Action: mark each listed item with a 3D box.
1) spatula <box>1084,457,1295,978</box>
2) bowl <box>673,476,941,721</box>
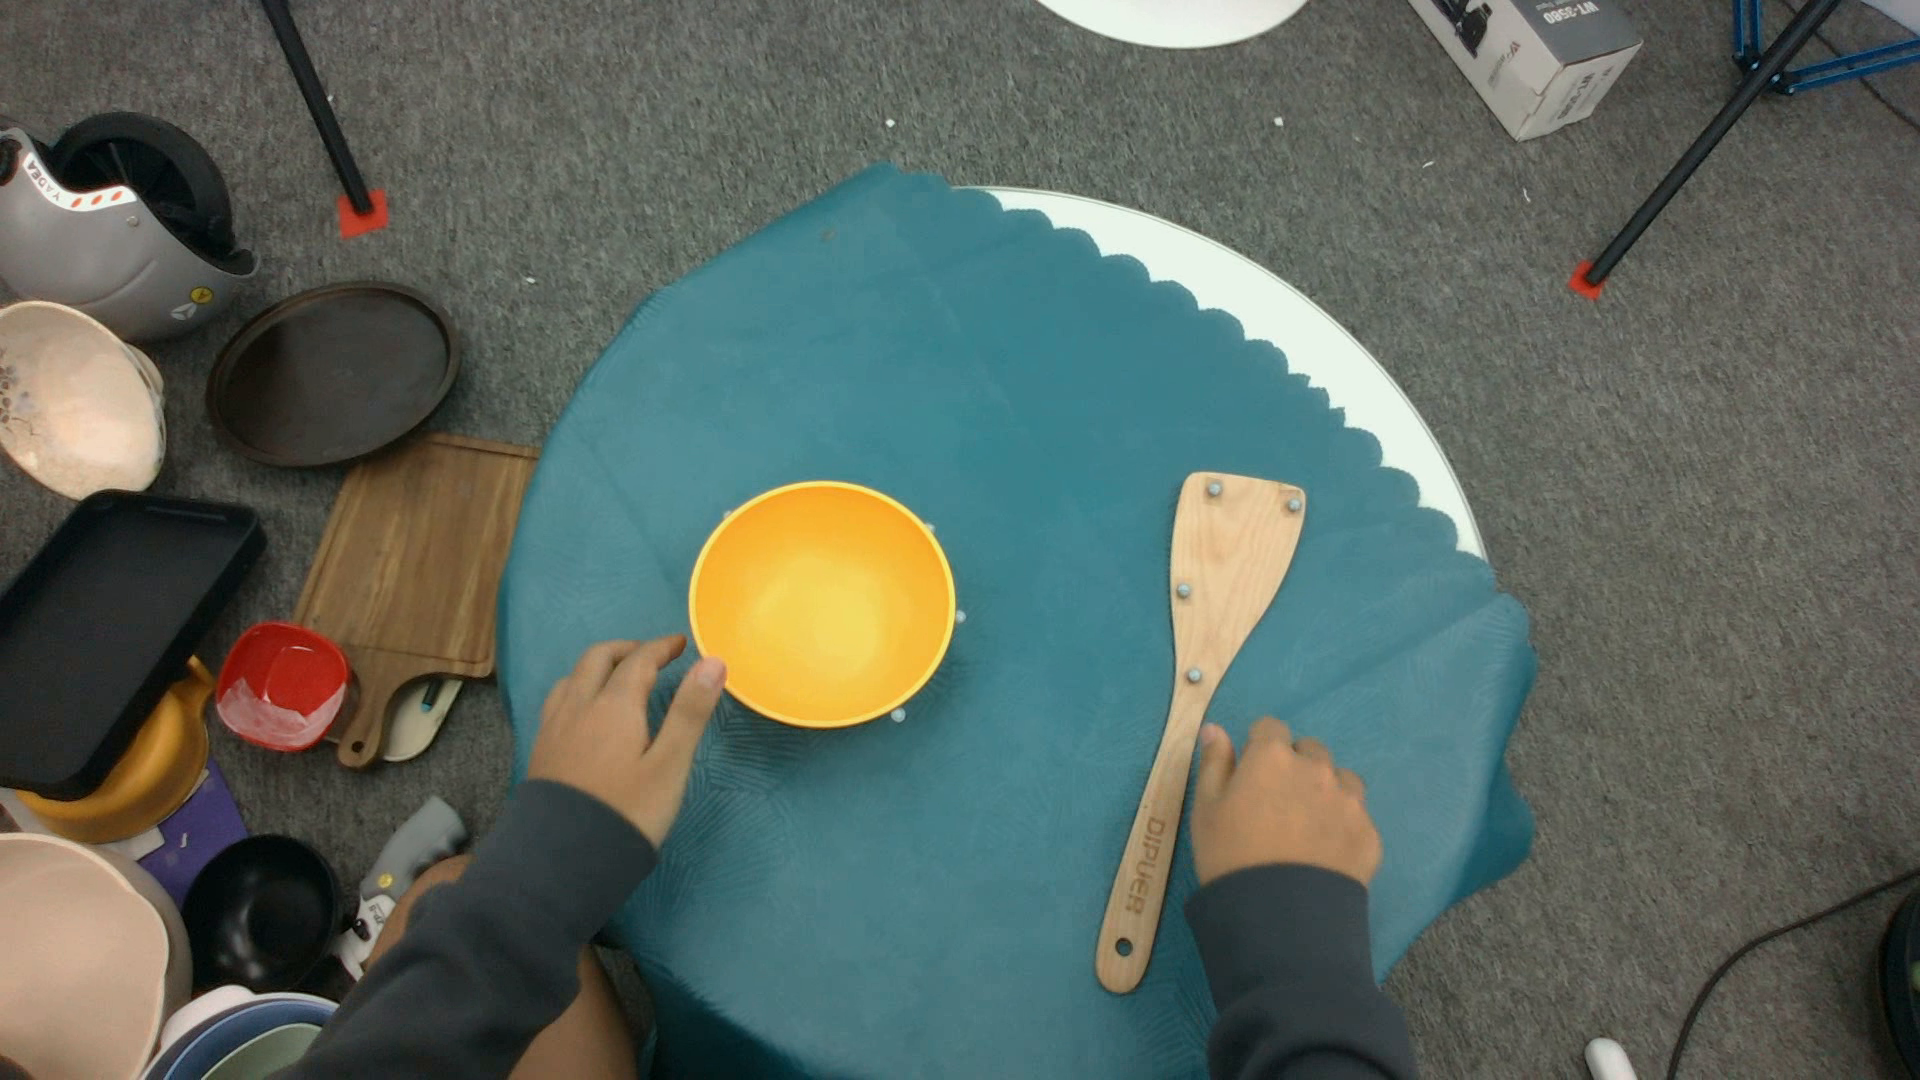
[{"bbox_3d":[0.124,0.089,0.796,0.080,0.016,0.329,19,64,1],"label":"spatula"},{"bbox_3d":[-0.084,0.040,0.767,0.145,0.060,0.146,3,63,-5],"label":"bowl"}]
